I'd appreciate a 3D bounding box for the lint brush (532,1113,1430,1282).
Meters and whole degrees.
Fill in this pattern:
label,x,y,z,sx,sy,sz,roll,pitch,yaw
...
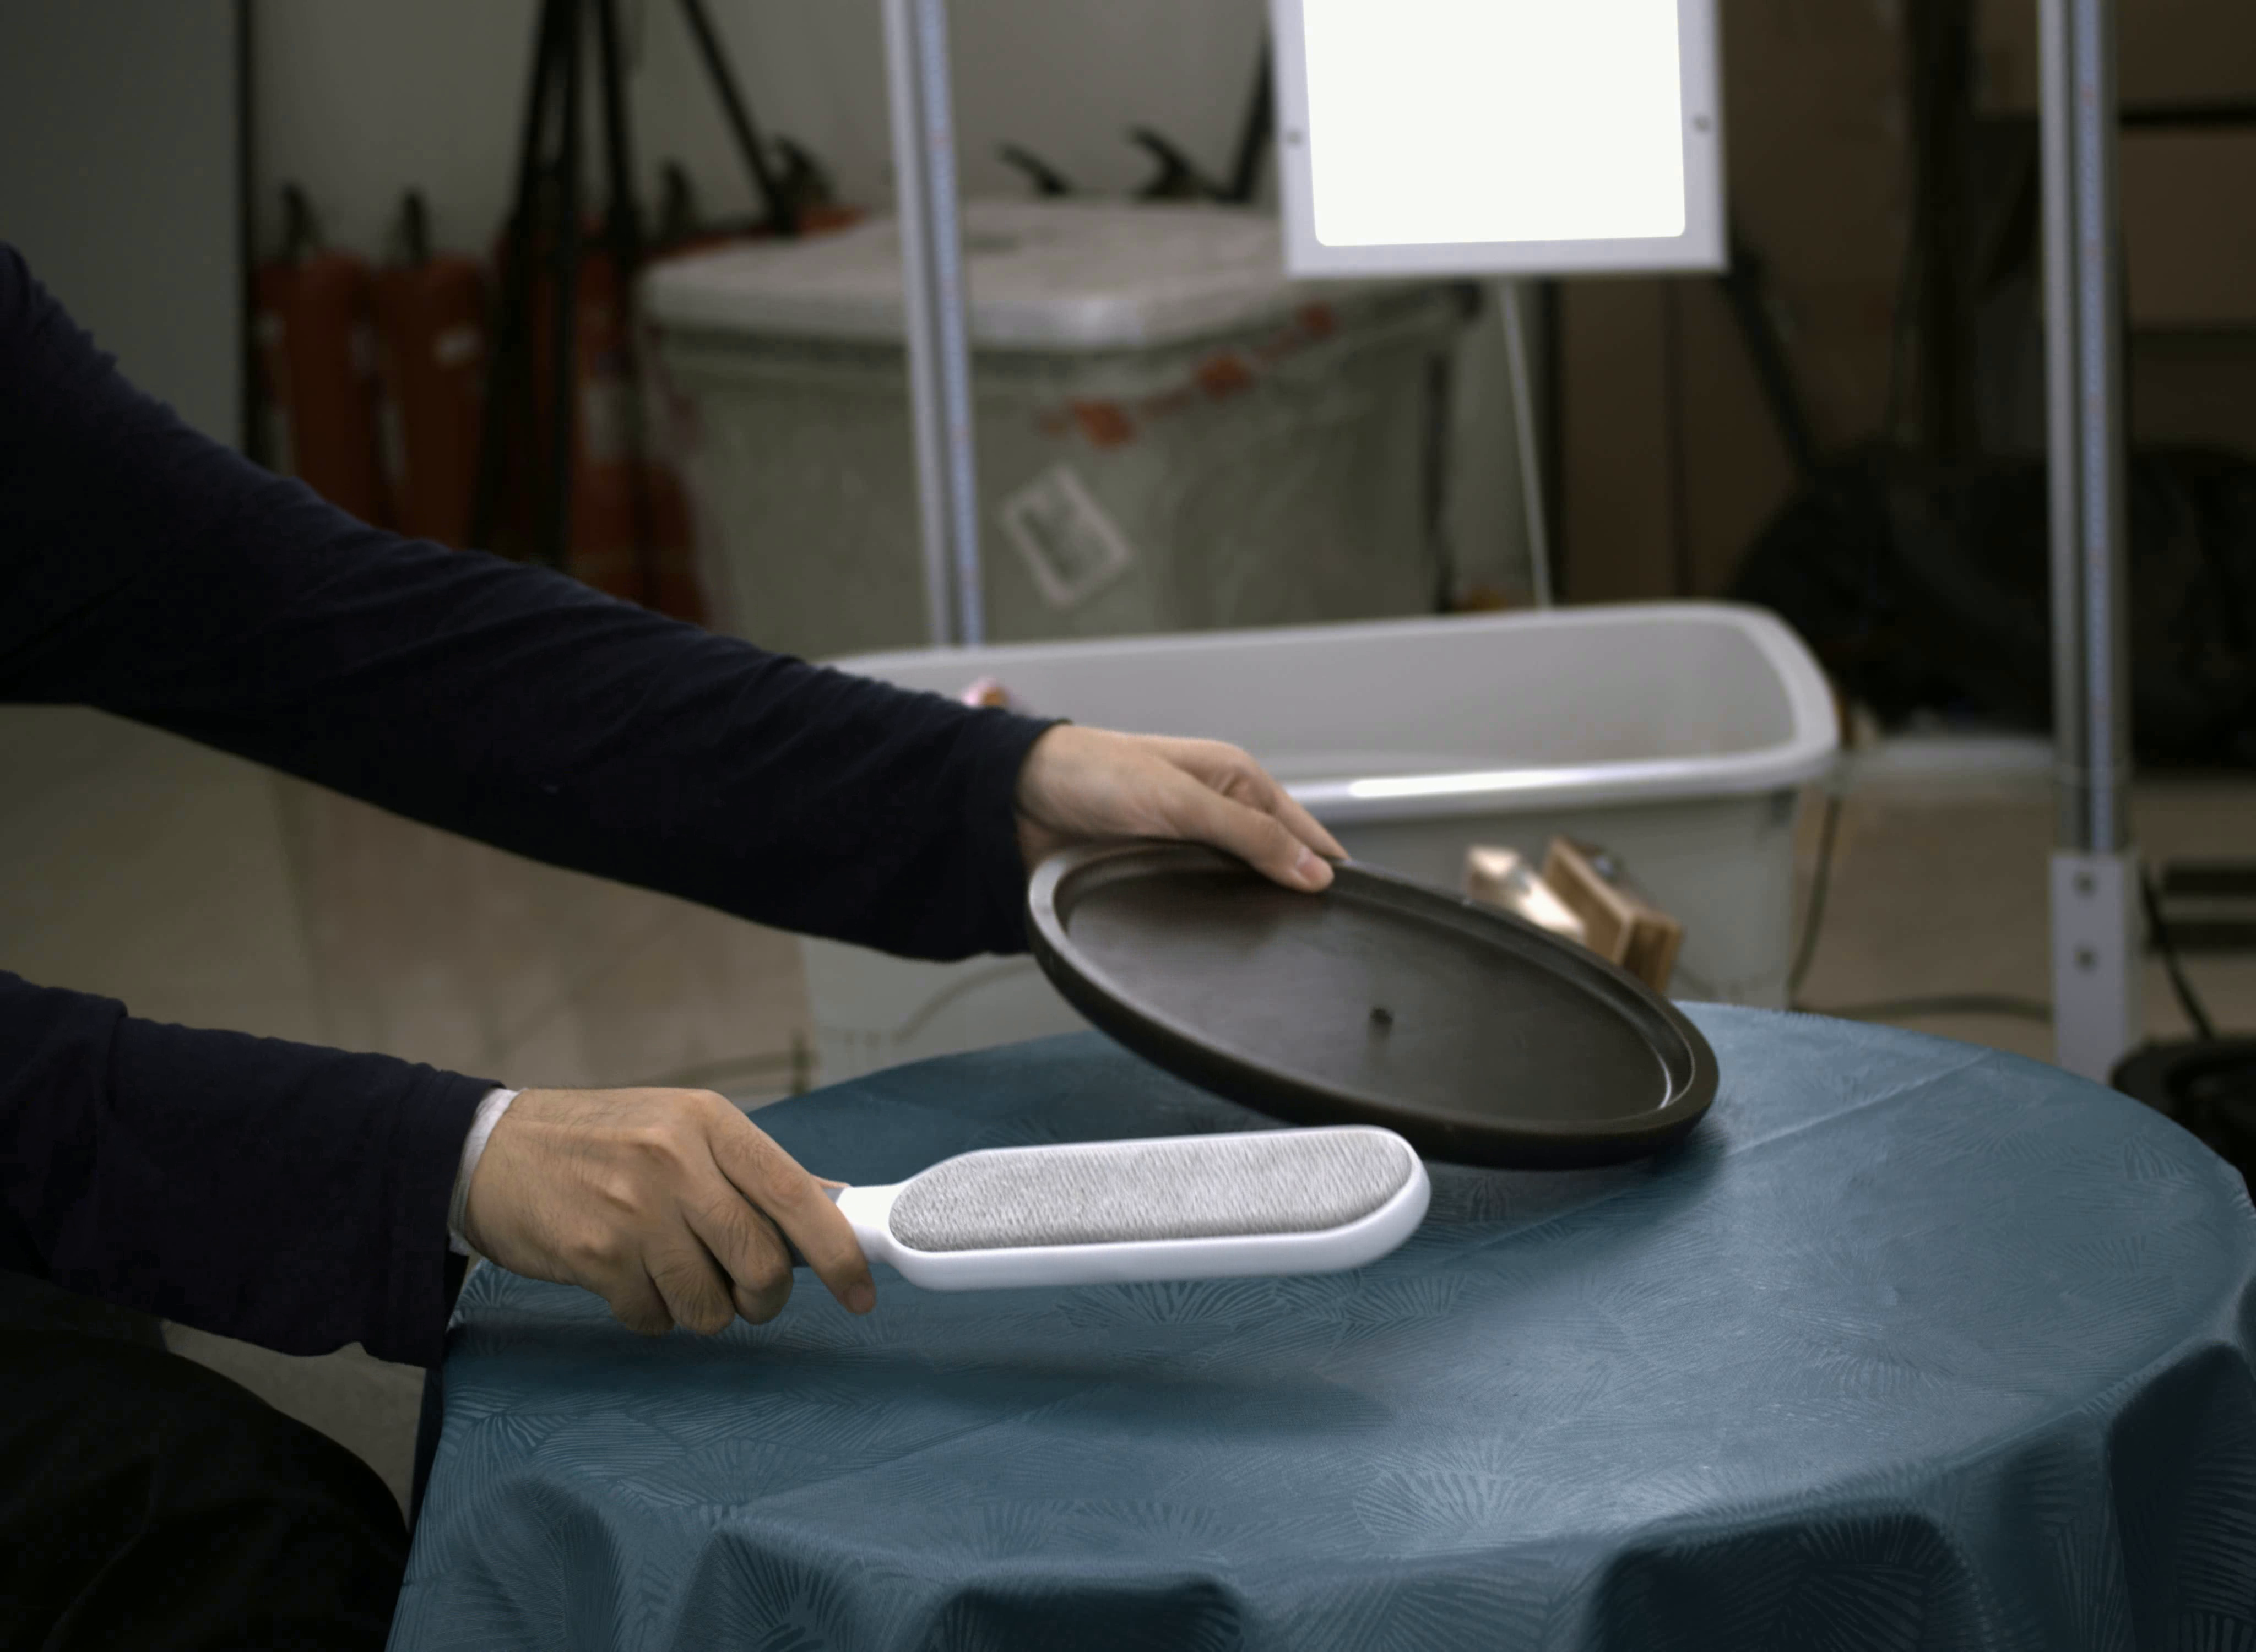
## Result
label,x,y,z,sx,sy,sz,roll,pitch,yaw
lint brush,-0.051,0.120,1.735,0.314,0.021,0.059,-5,38,26

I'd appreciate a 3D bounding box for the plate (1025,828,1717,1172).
label,x,y,z,sx,sy,sz,roll,pitch,yaw
plate,0.084,0.060,1.933,0.253,0.029,0.254,15,16,-6
